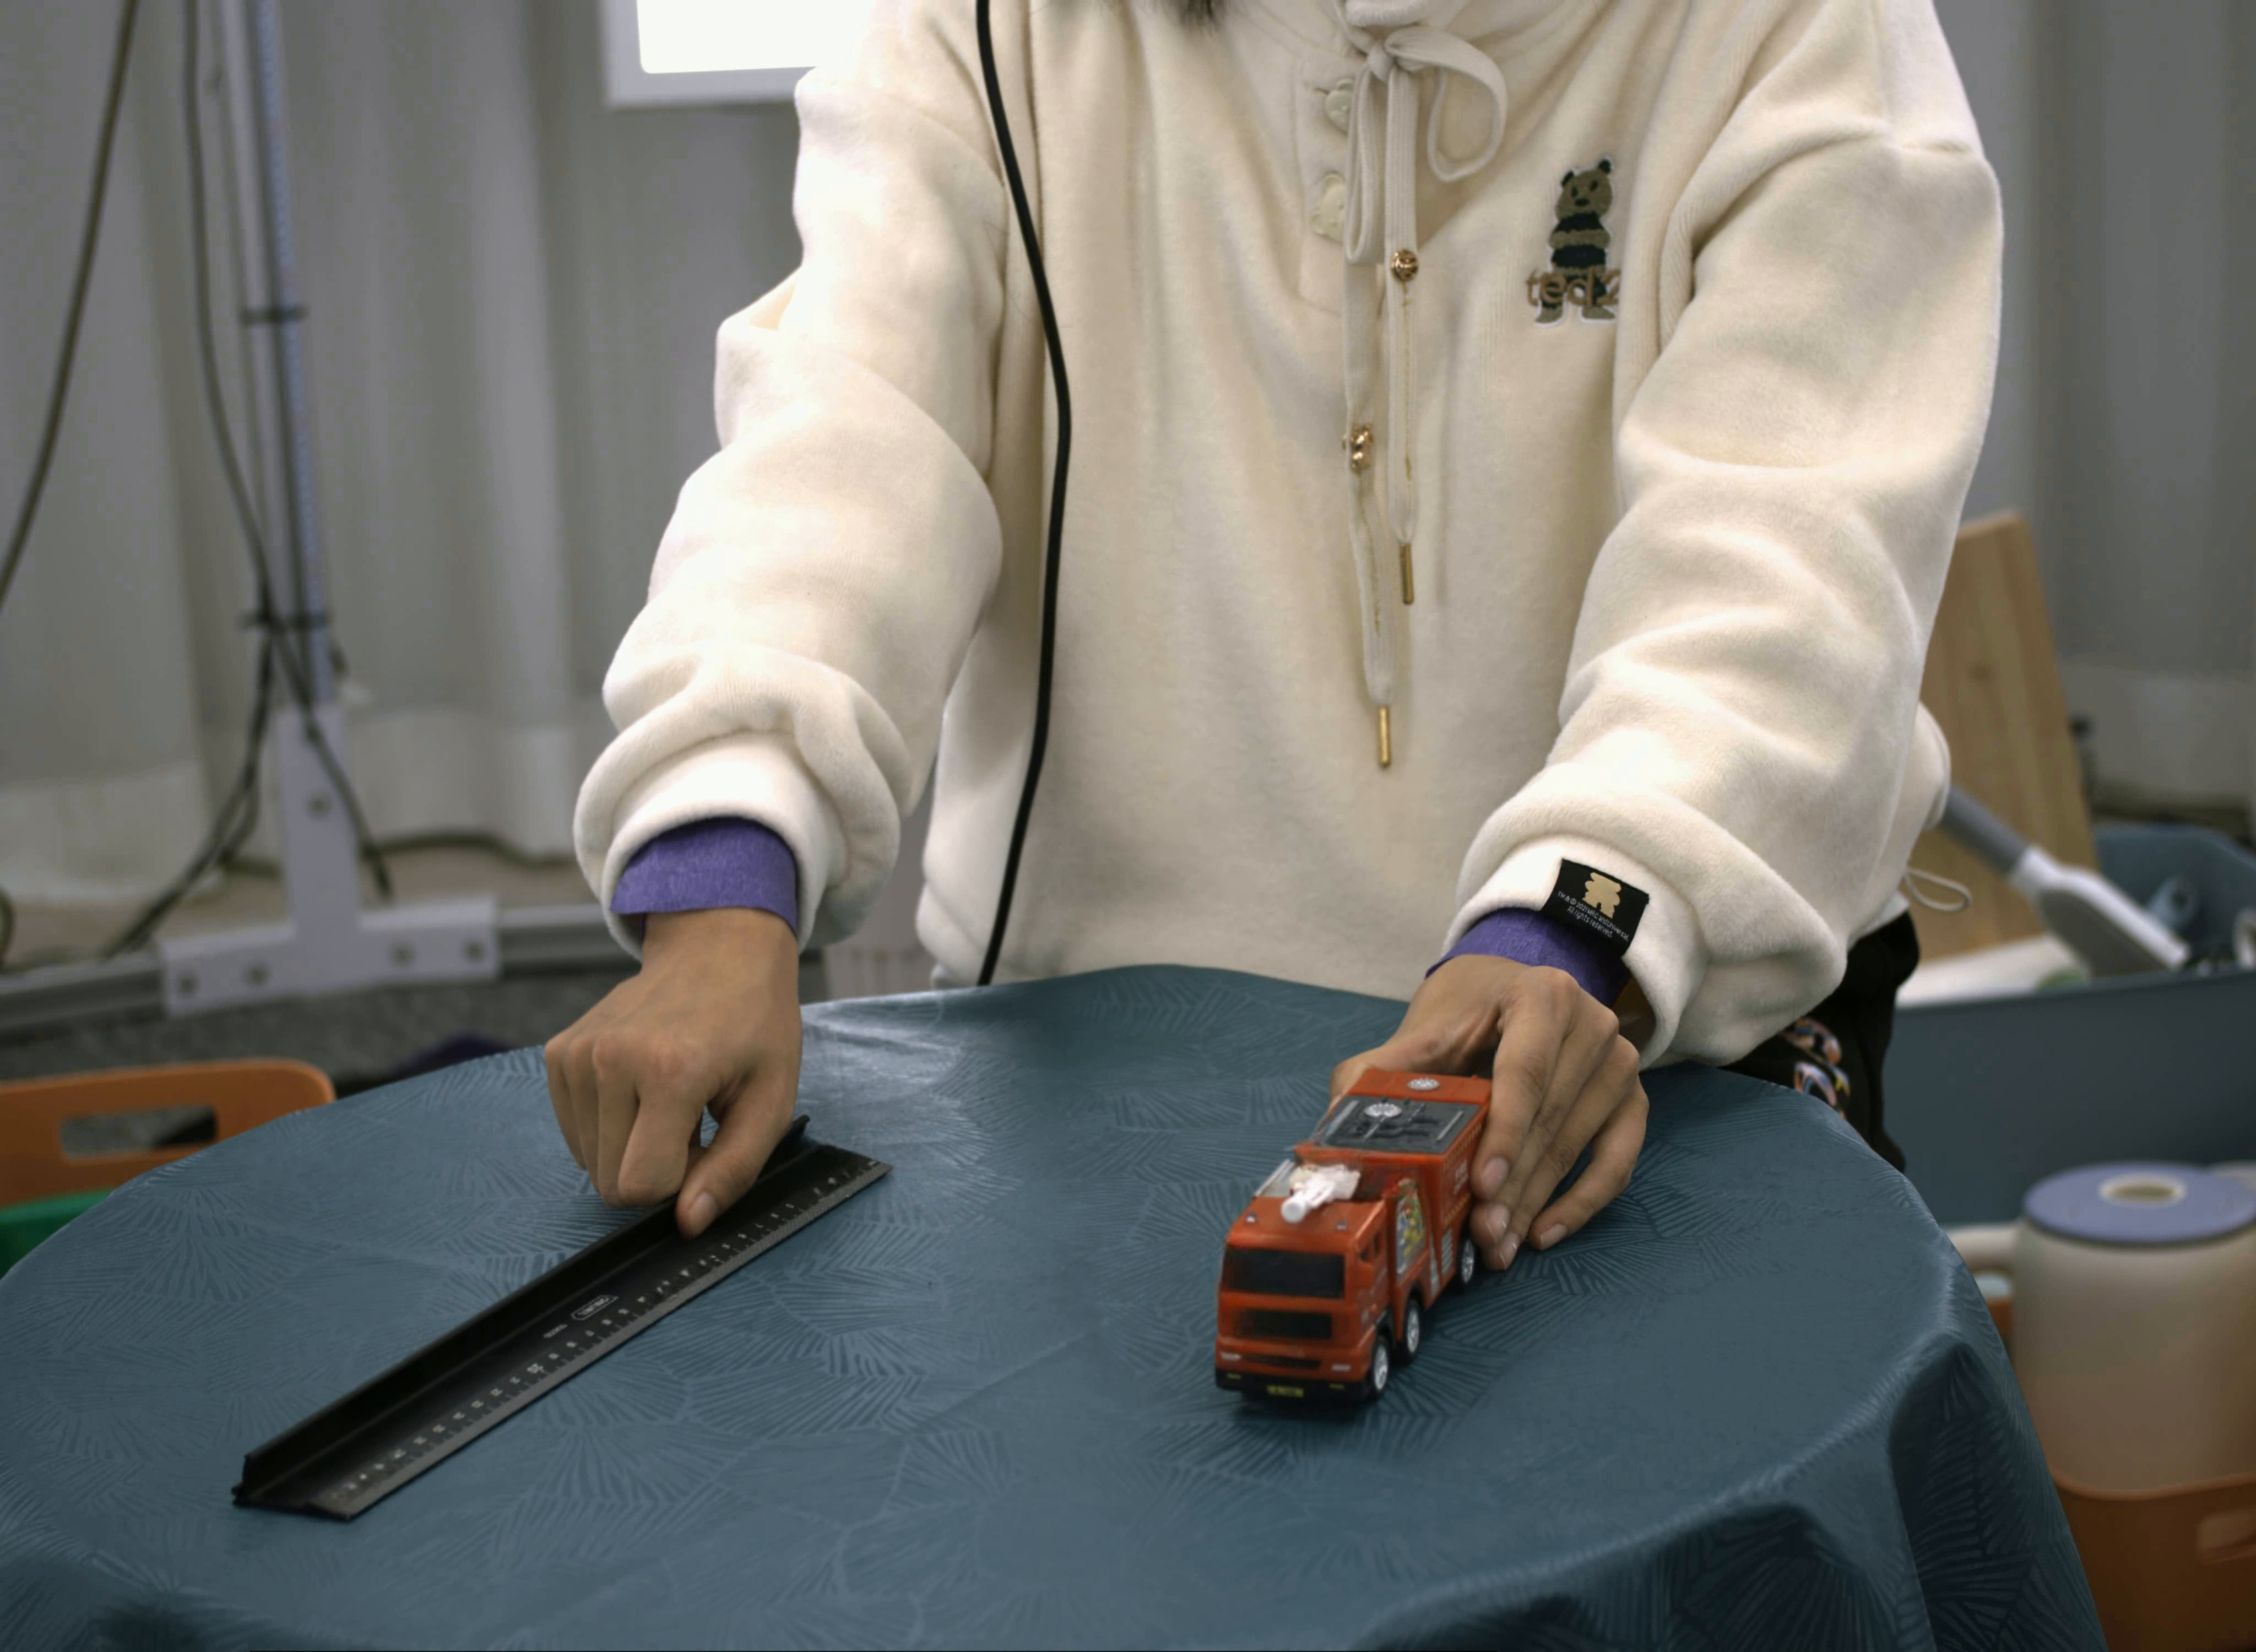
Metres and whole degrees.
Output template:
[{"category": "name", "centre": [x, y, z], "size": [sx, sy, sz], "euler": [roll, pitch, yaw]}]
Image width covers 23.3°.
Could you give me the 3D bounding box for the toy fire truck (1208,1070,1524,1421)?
[{"category": "toy fire truck", "centre": [0.070, 0.117, 1.576], "size": [0.054, 0.070, 0.168], "euler": [3, 15, 19]}]

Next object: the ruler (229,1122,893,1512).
[{"category": "ruler", "centre": [-0.160, 0.141, 1.617], "size": [0.039, 0.017, 0.313], "euler": [7, 17, 26]}]
